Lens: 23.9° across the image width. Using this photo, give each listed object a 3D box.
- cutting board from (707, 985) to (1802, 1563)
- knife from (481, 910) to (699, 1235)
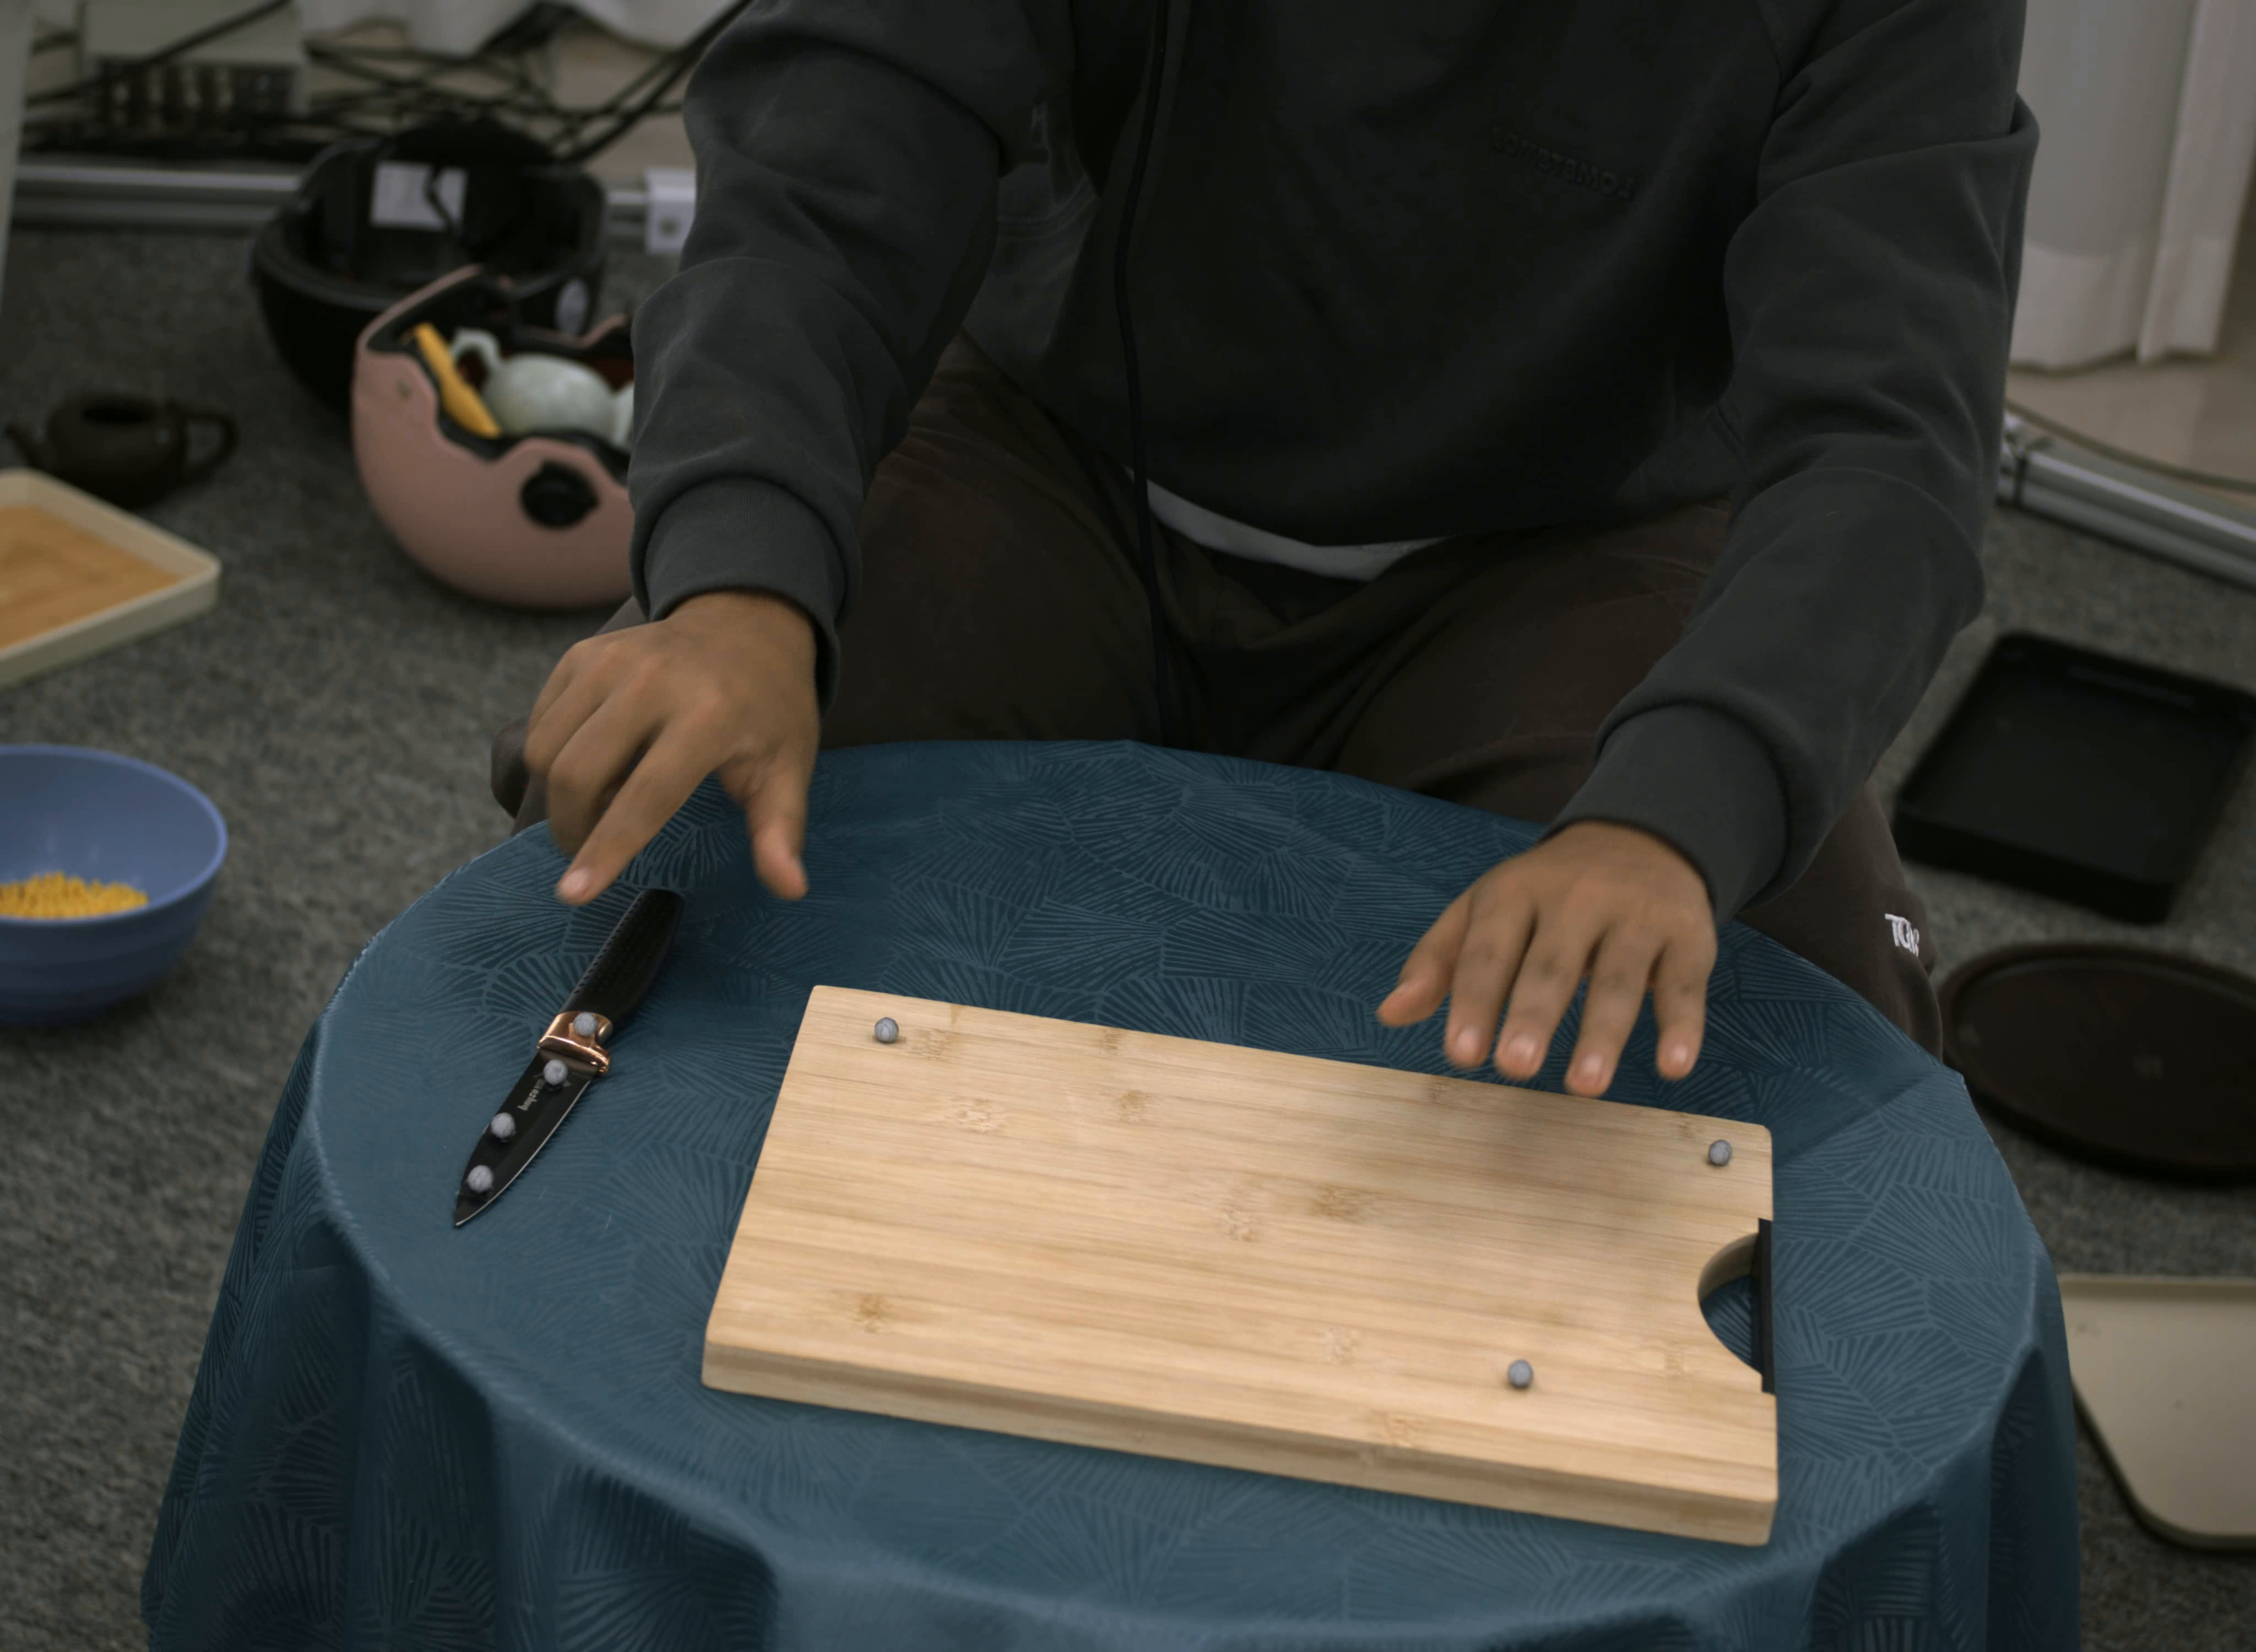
[{"bbox_3d":[0.049,0.142,1.763,0.348,0.023,0.252,8,27,2],"label":"cutting board"},{"bbox_3d":[-0.188,0.083,1.831,0.026,0.017,0.226,17,28,6],"label":"knife"}]
